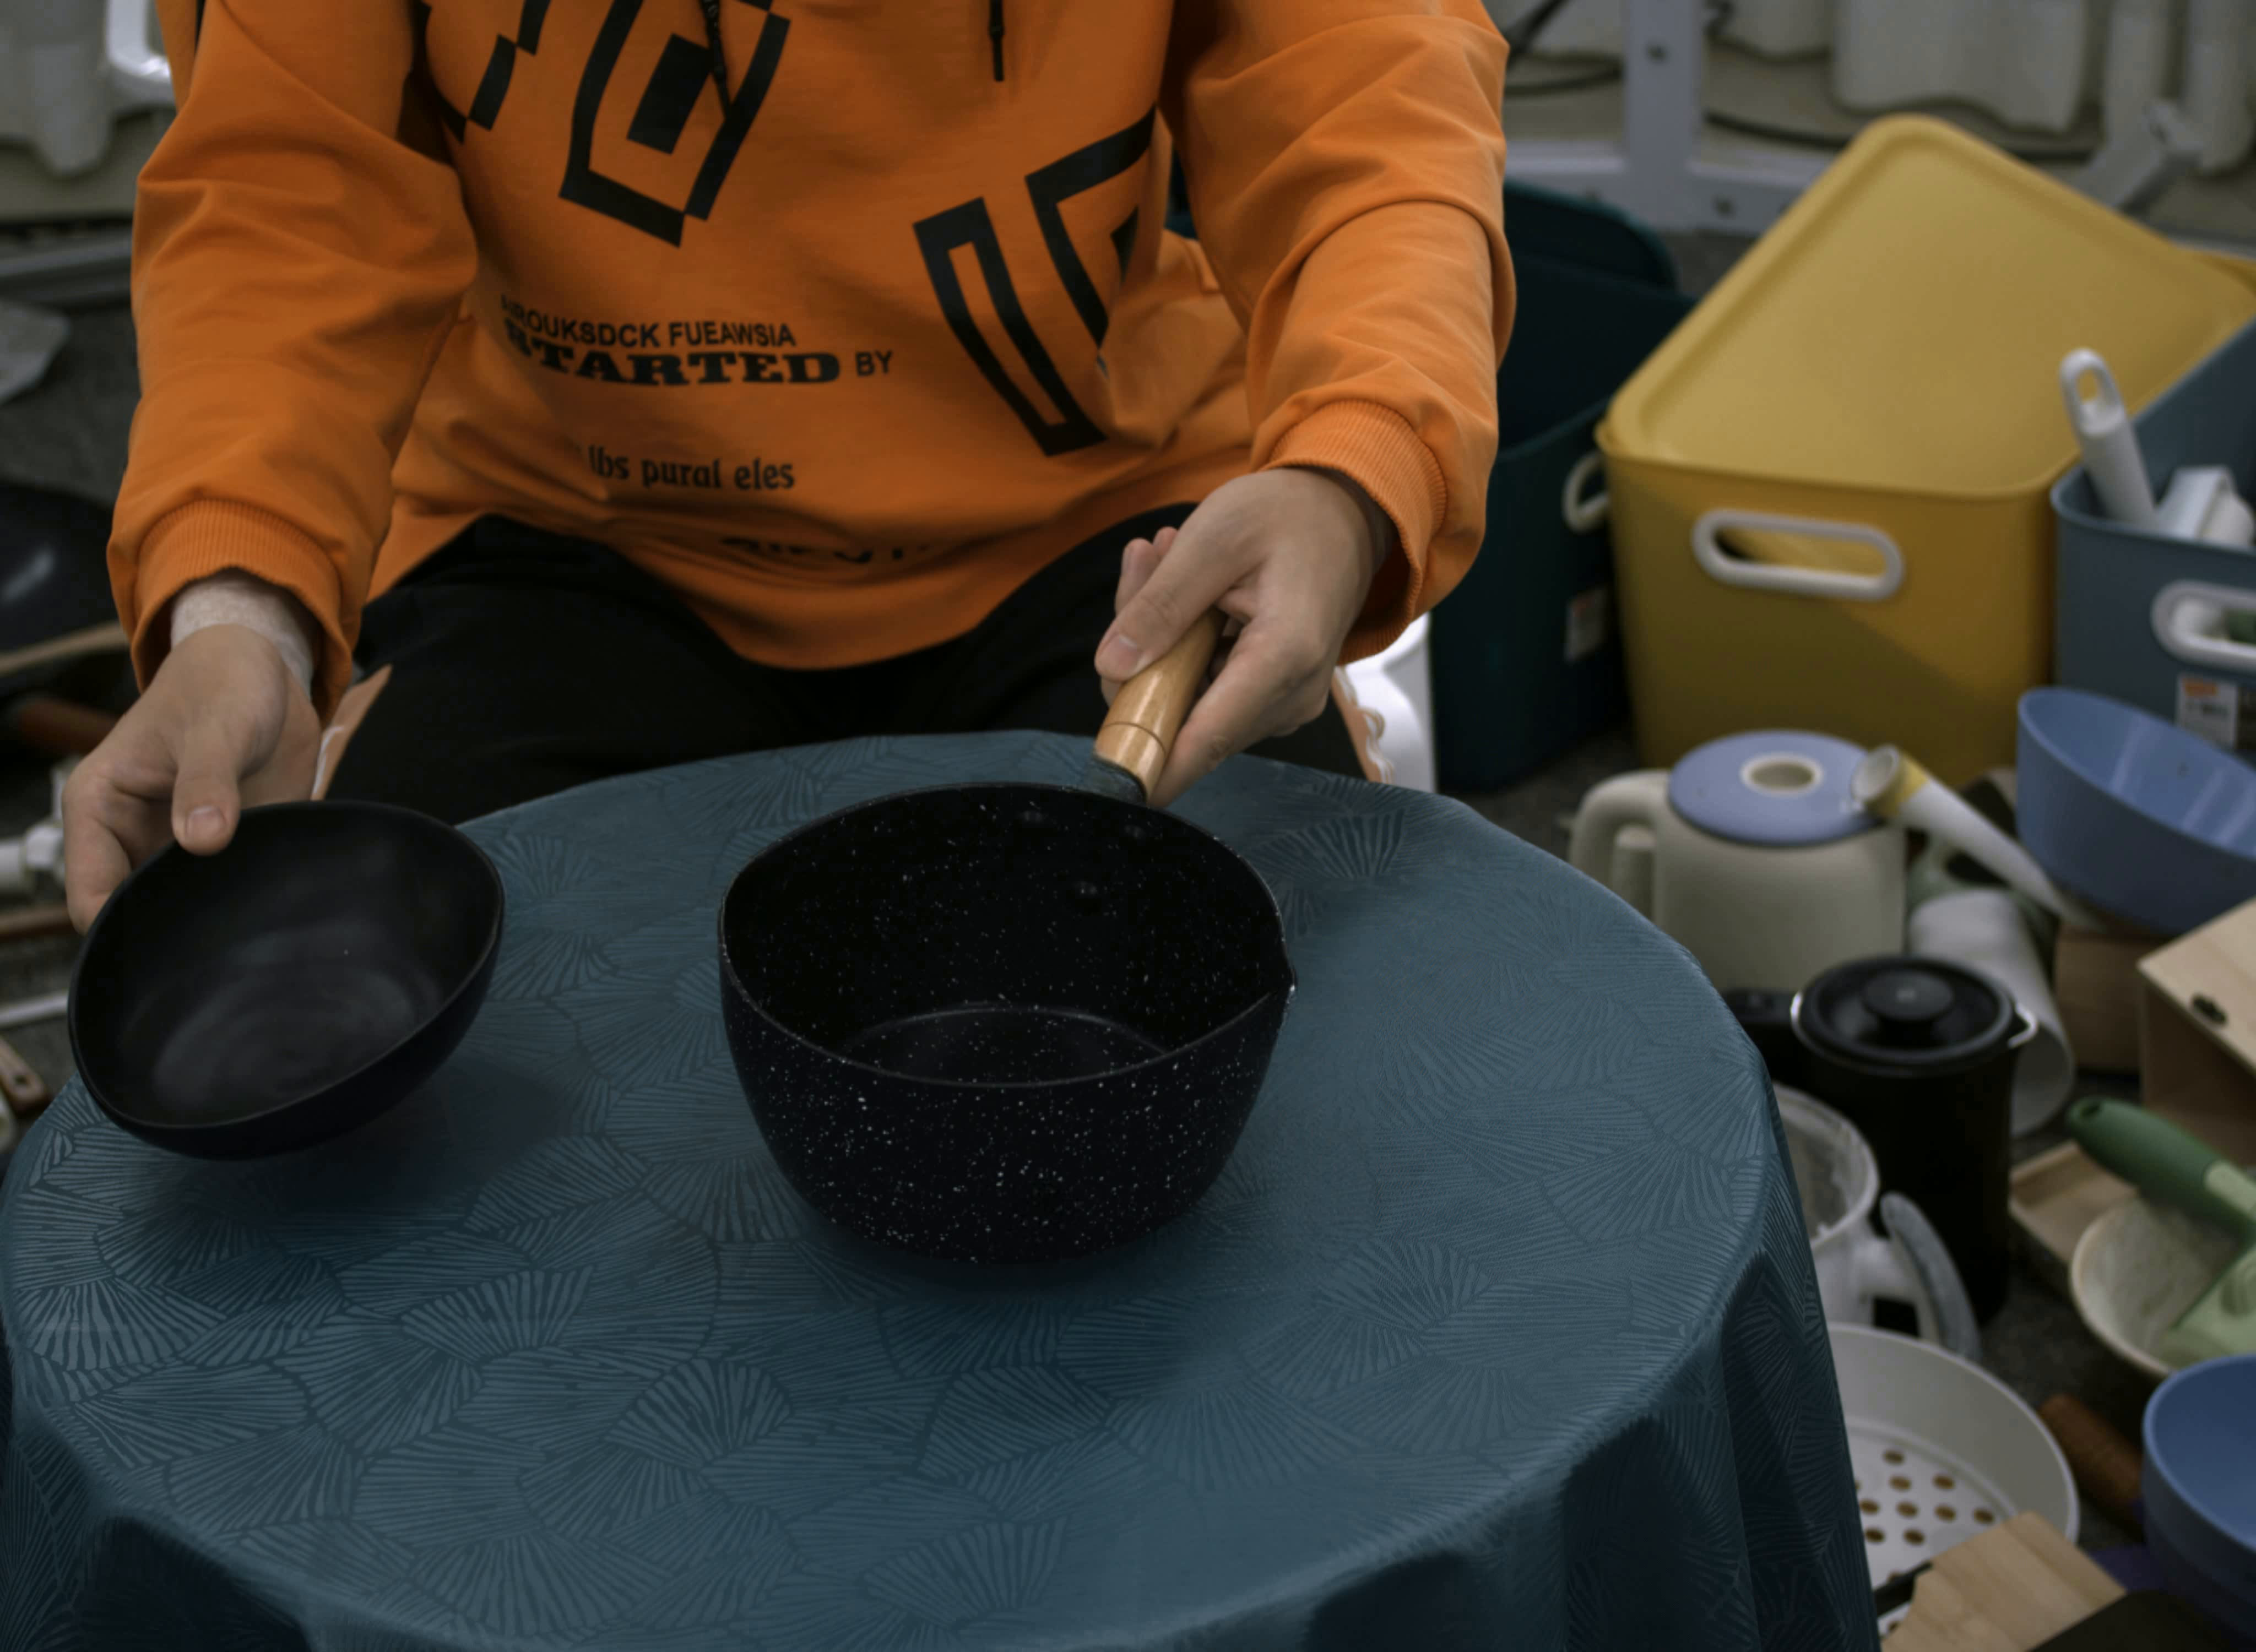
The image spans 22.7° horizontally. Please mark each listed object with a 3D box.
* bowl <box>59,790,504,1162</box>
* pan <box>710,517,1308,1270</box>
[{"bbox_3d":[-0.282,0.063,1.900,0.137,0.066,0.173,17,44,22],"label":"bowl"},{"bbox_3d":[-0.019,0.019,1.907,0.206,0.107,0.349,8,33,14],"label":"pan"}]
